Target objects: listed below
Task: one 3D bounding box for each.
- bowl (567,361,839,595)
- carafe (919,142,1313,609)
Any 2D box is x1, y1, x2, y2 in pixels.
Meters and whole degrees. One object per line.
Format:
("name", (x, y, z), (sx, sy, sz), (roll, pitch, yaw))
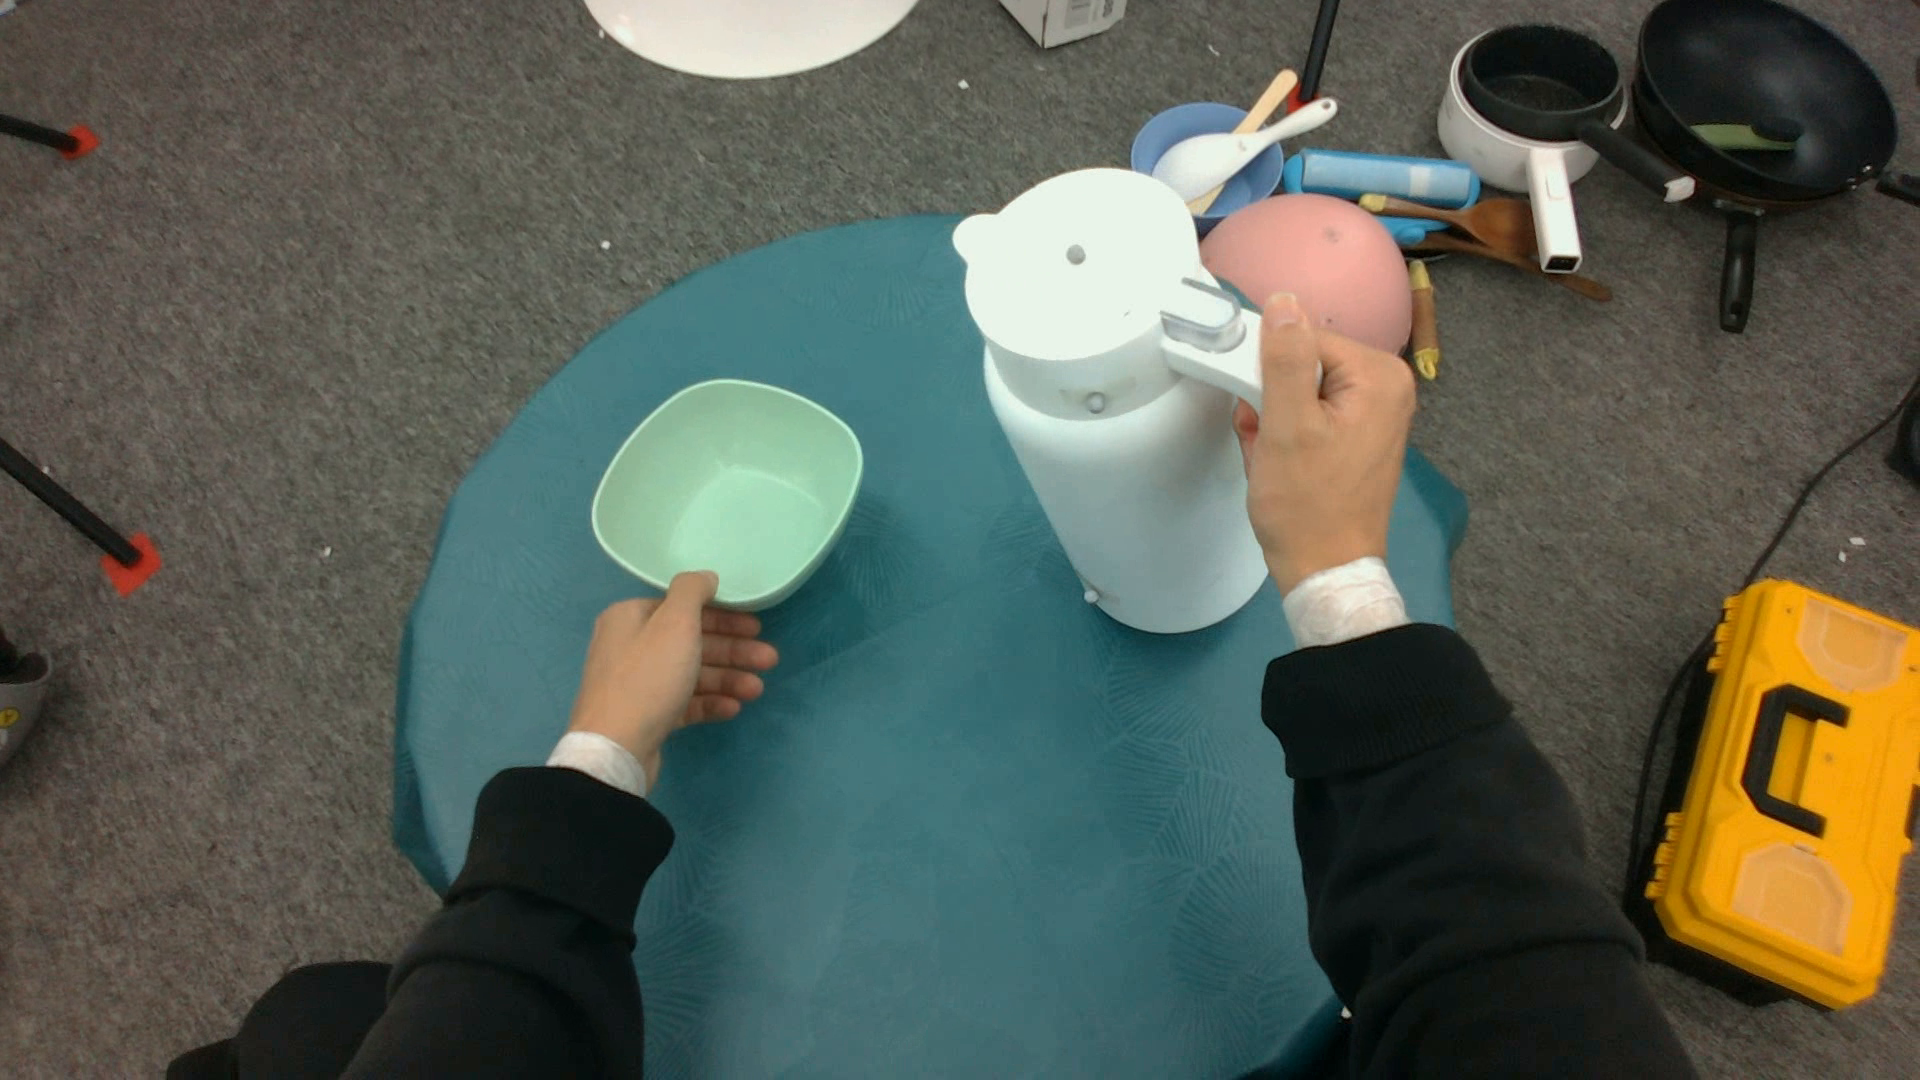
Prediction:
("bowl", (-0.138, -0.026, 0.772), (0.151, 0.058, 0.152), (-2, 59, 4))
("carafe", (0.089, -0.064, 0.673), (0.173, 0.268, 0.124), (25, 71, 28))
